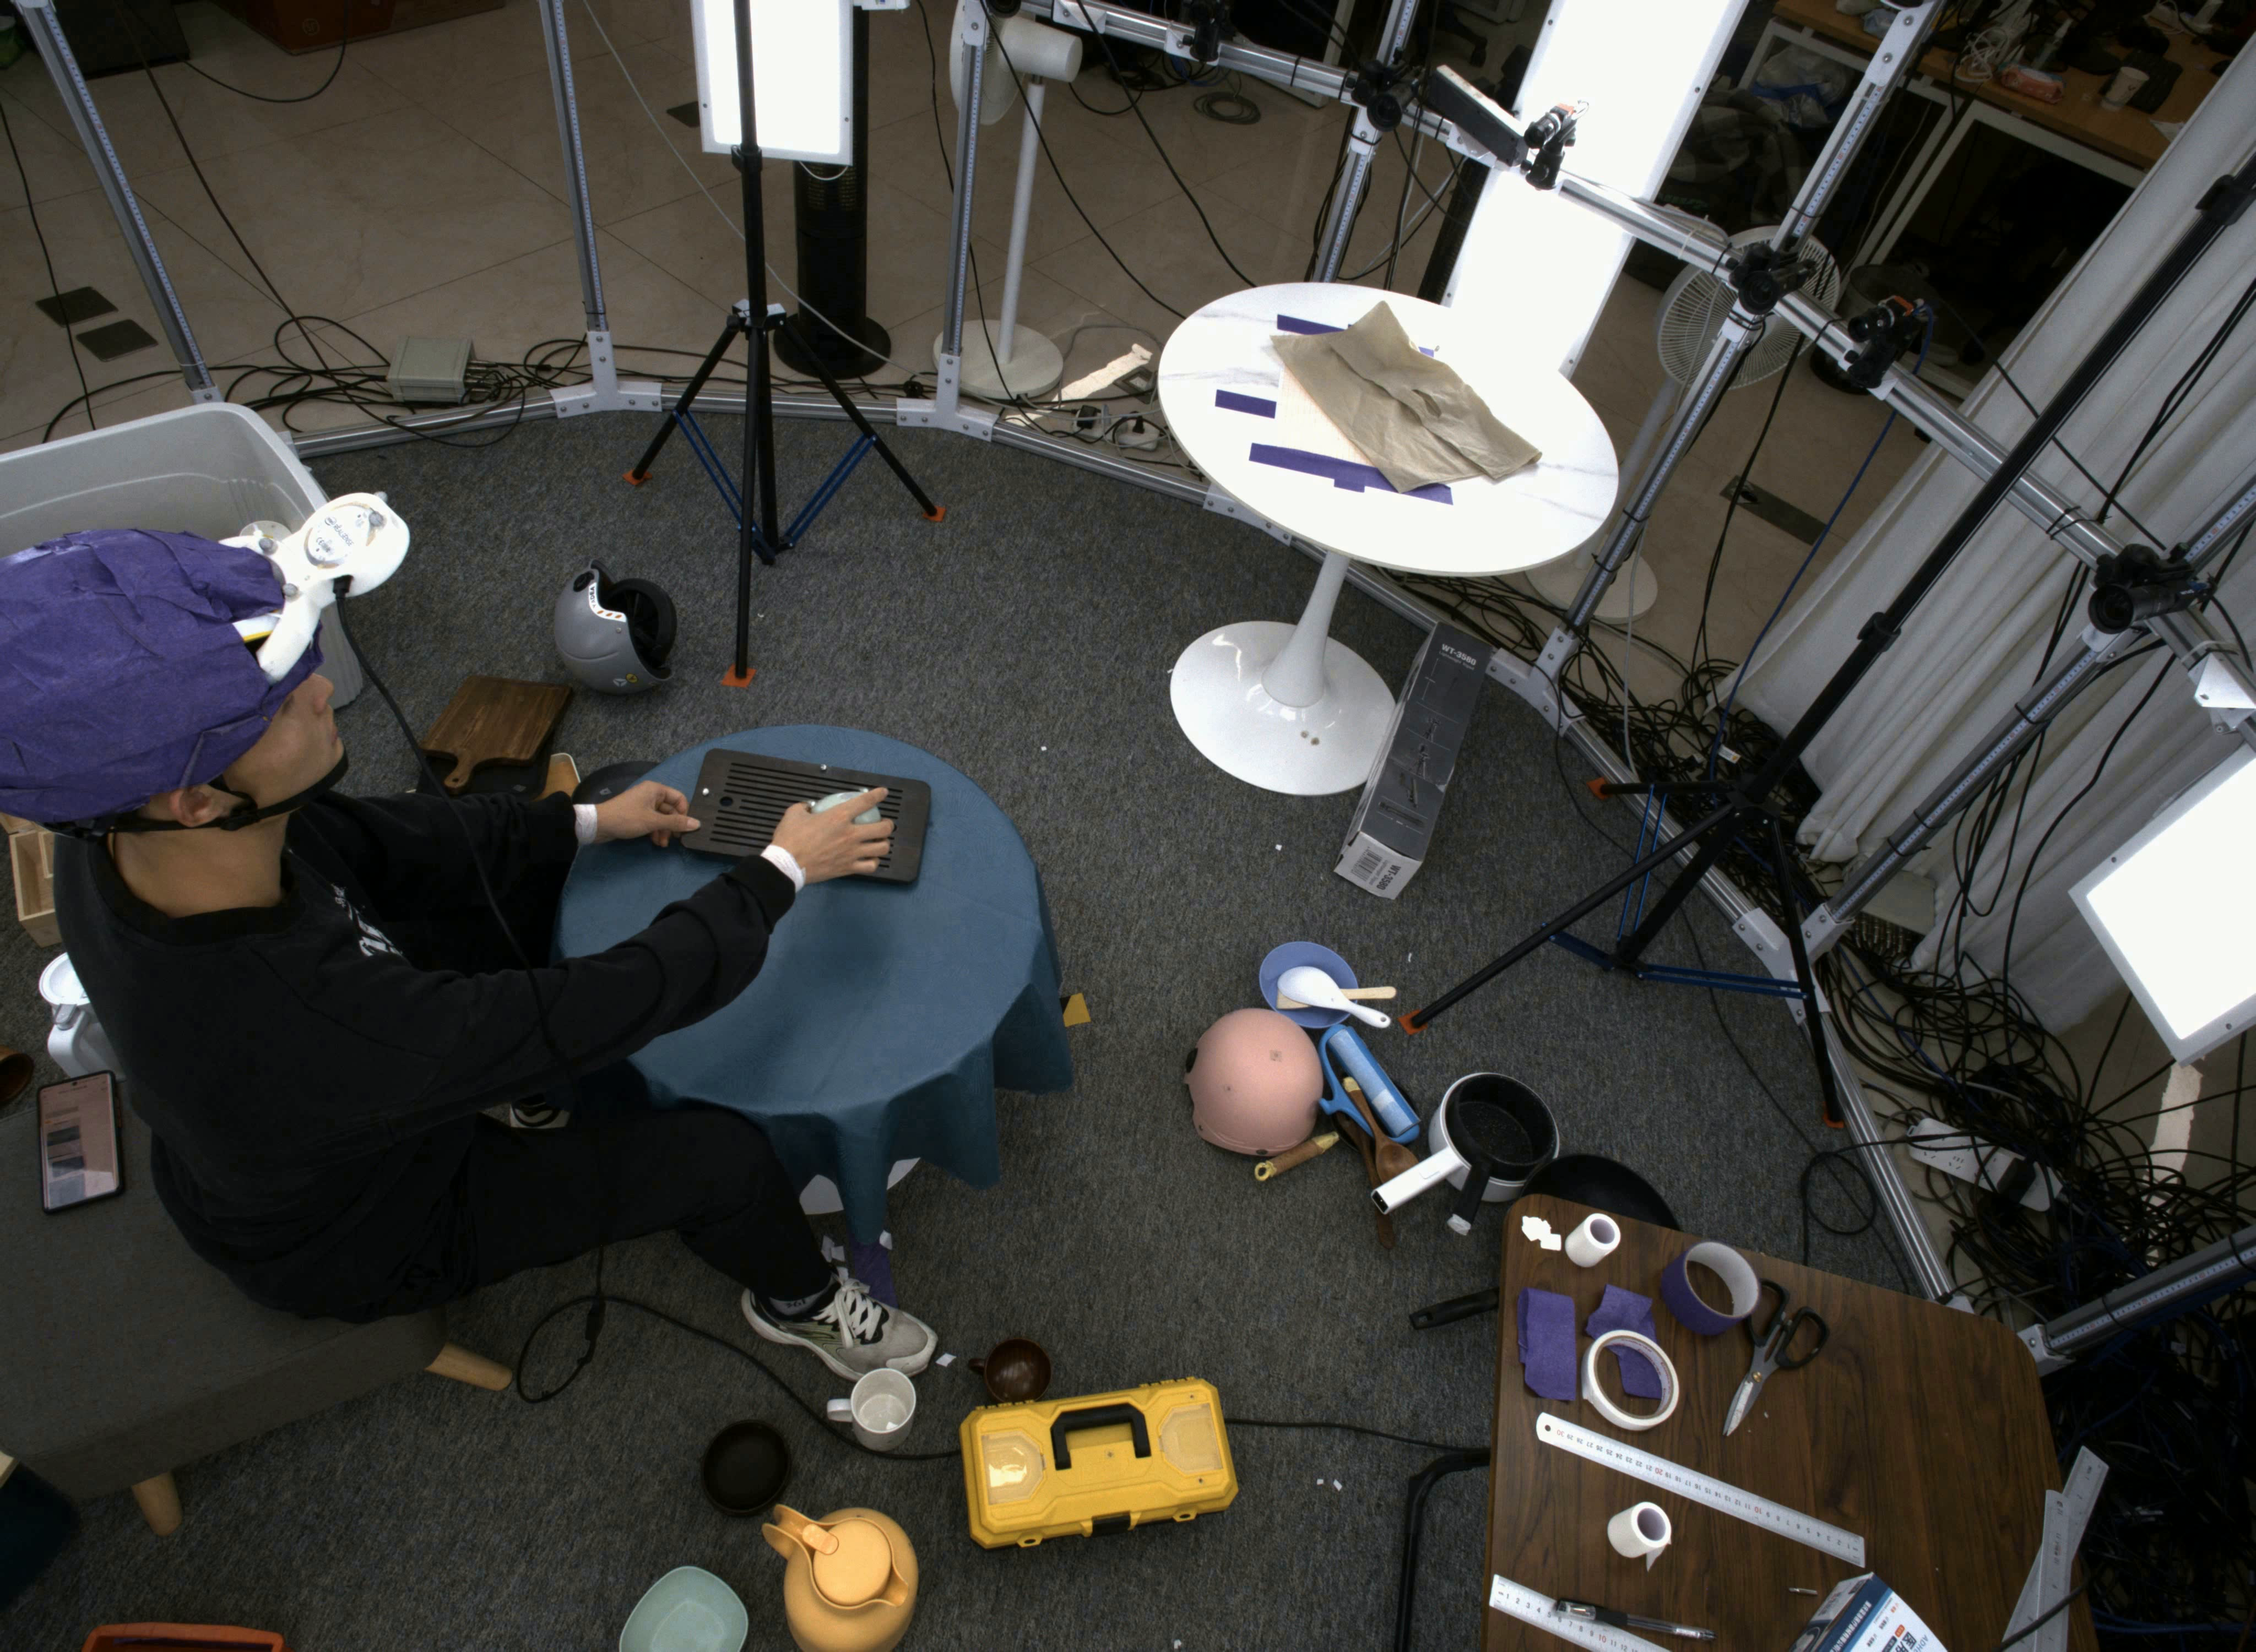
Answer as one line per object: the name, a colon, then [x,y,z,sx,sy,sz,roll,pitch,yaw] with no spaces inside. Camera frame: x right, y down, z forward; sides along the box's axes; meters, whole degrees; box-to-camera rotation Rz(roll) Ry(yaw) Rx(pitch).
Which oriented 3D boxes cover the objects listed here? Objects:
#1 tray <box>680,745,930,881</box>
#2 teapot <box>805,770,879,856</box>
tray: [-0.422,-0.017,1.714,0.306,0.019,0.167,9,53,-11]
teapot: [-0.347,-0.007,1.574,0.089,0.144,0.074,-7,70,-20]
